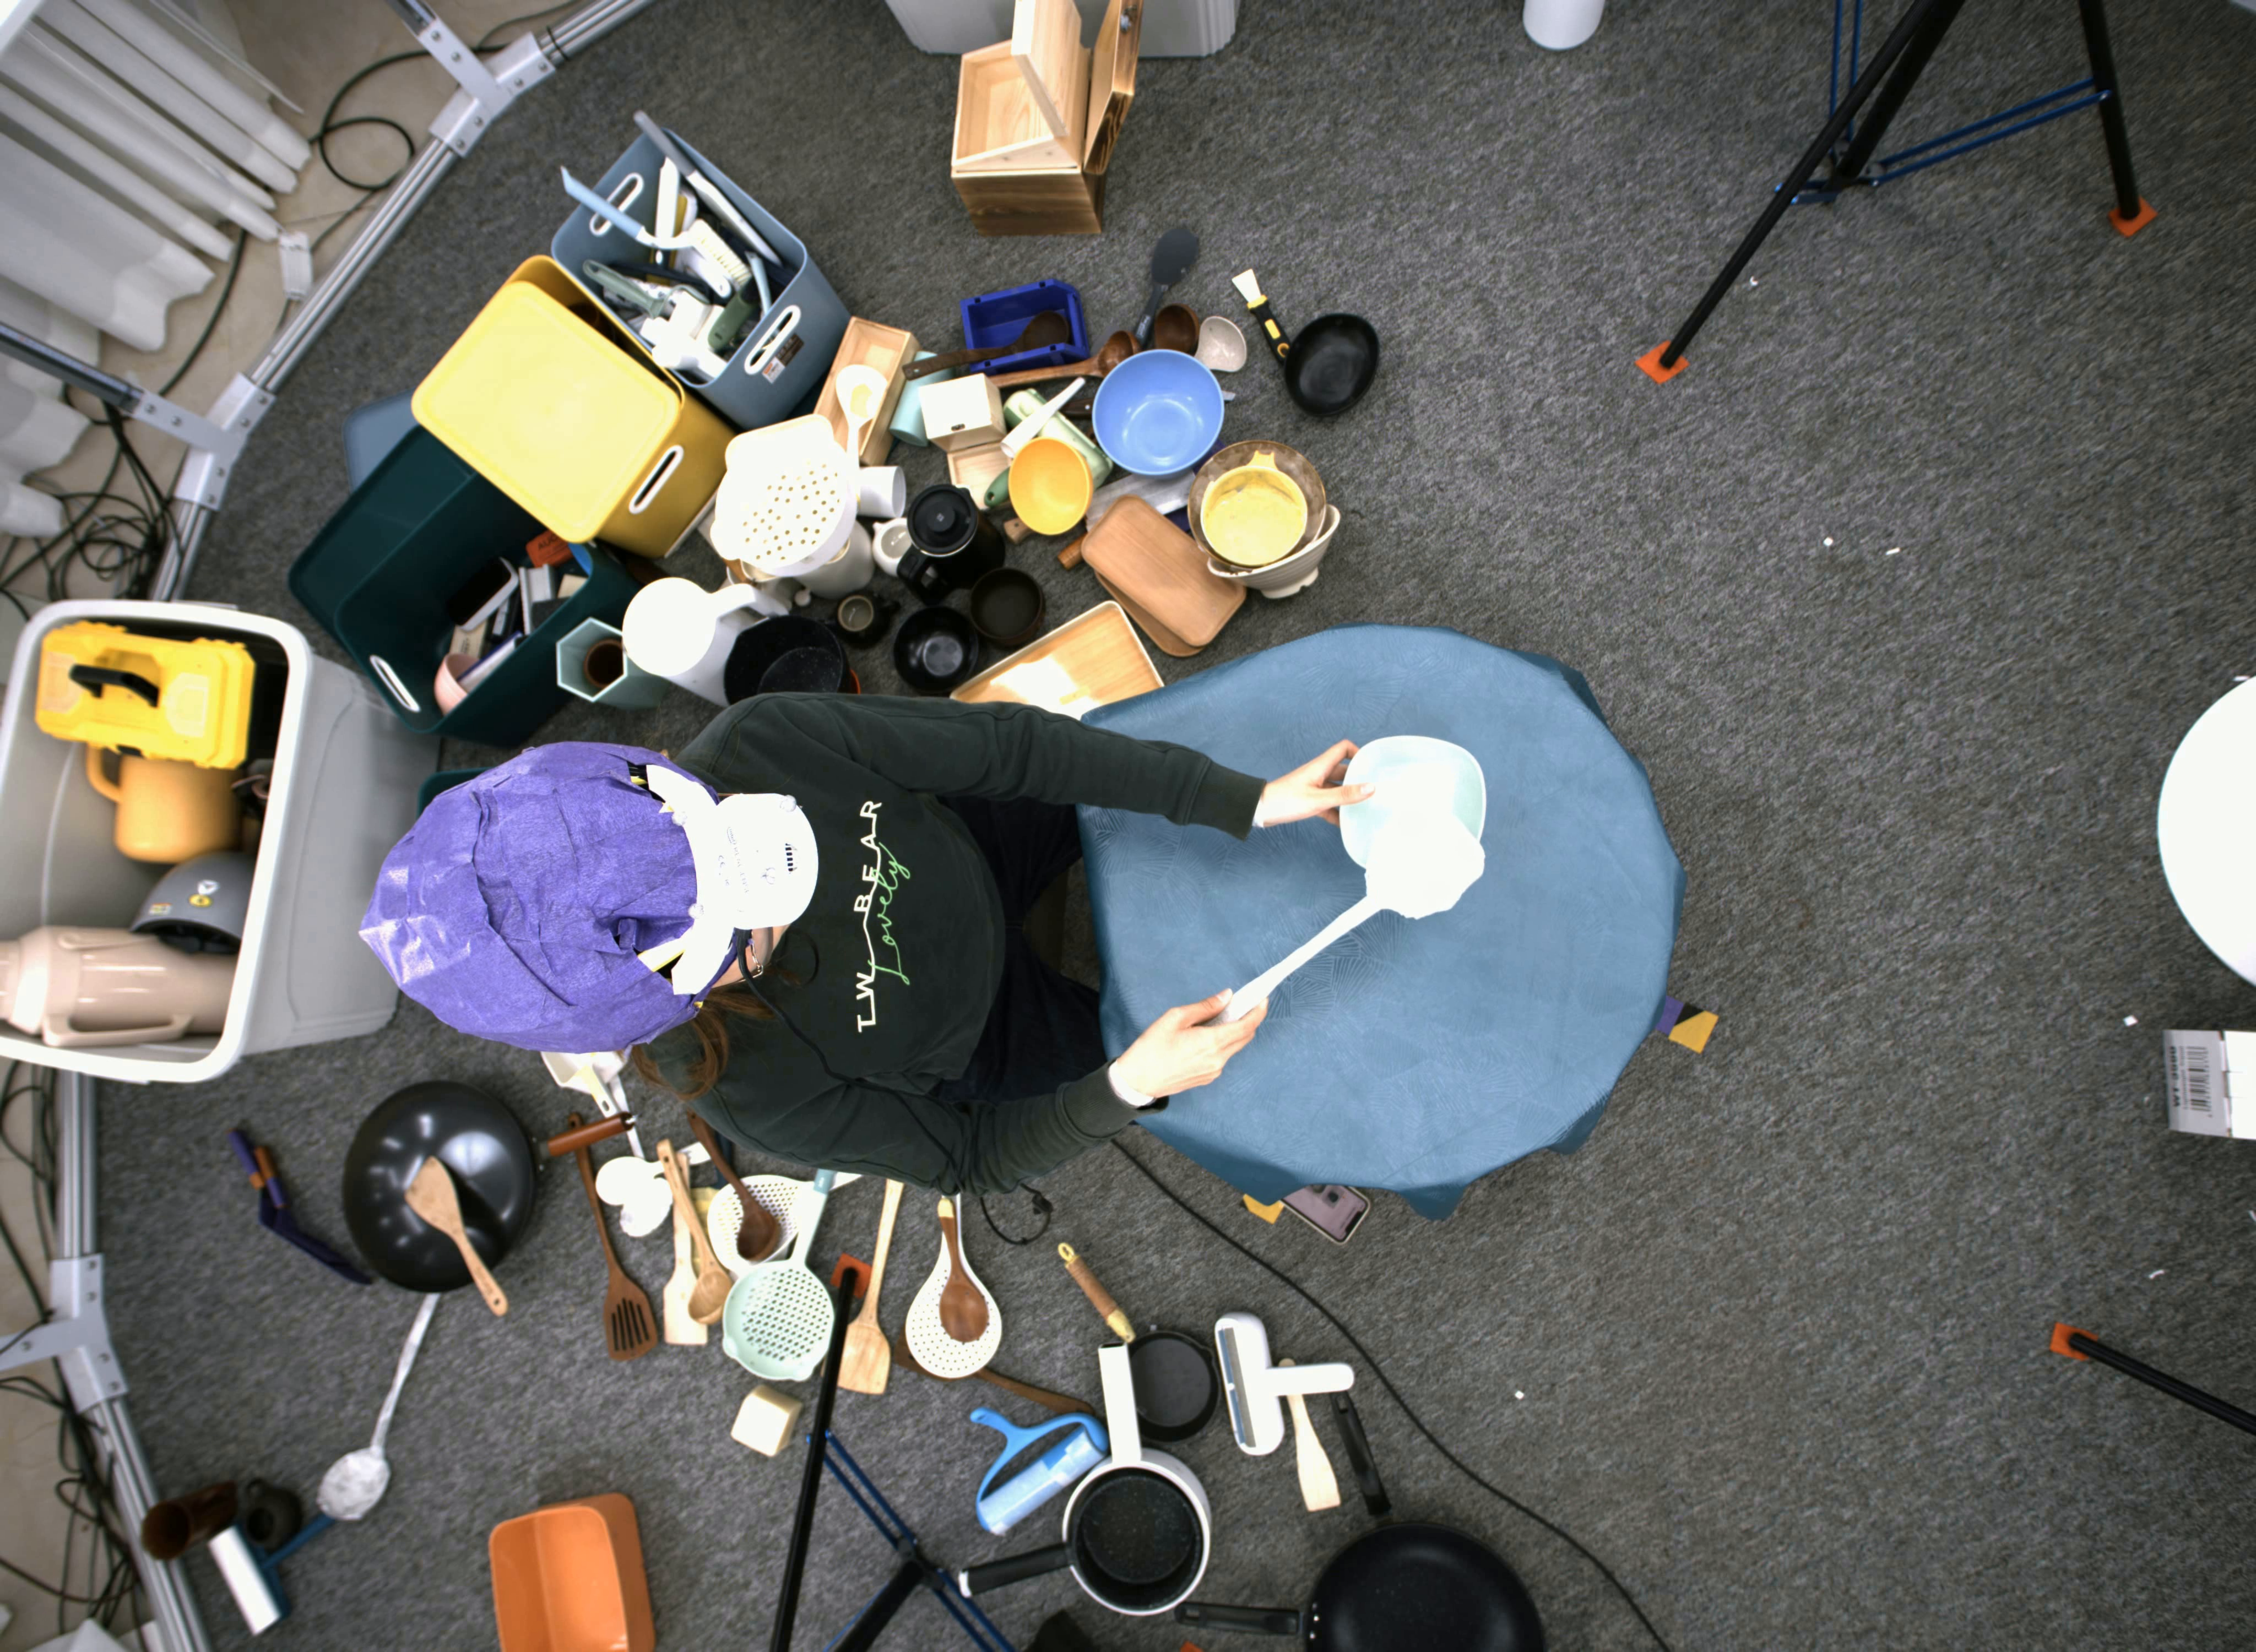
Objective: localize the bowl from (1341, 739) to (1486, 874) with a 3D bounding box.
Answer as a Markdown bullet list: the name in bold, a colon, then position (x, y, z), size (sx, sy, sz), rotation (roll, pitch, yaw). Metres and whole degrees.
- **bowl**: position (0.281, -0.018, 1.360), size (0.152, 0.058, 0.152), rotation (1, 96, 10)

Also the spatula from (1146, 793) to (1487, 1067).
- **spatula**: position (0.164, 0.109, 1.263), size (0.364, 0.045, 0.097), rotation (-37, 69, -1)
